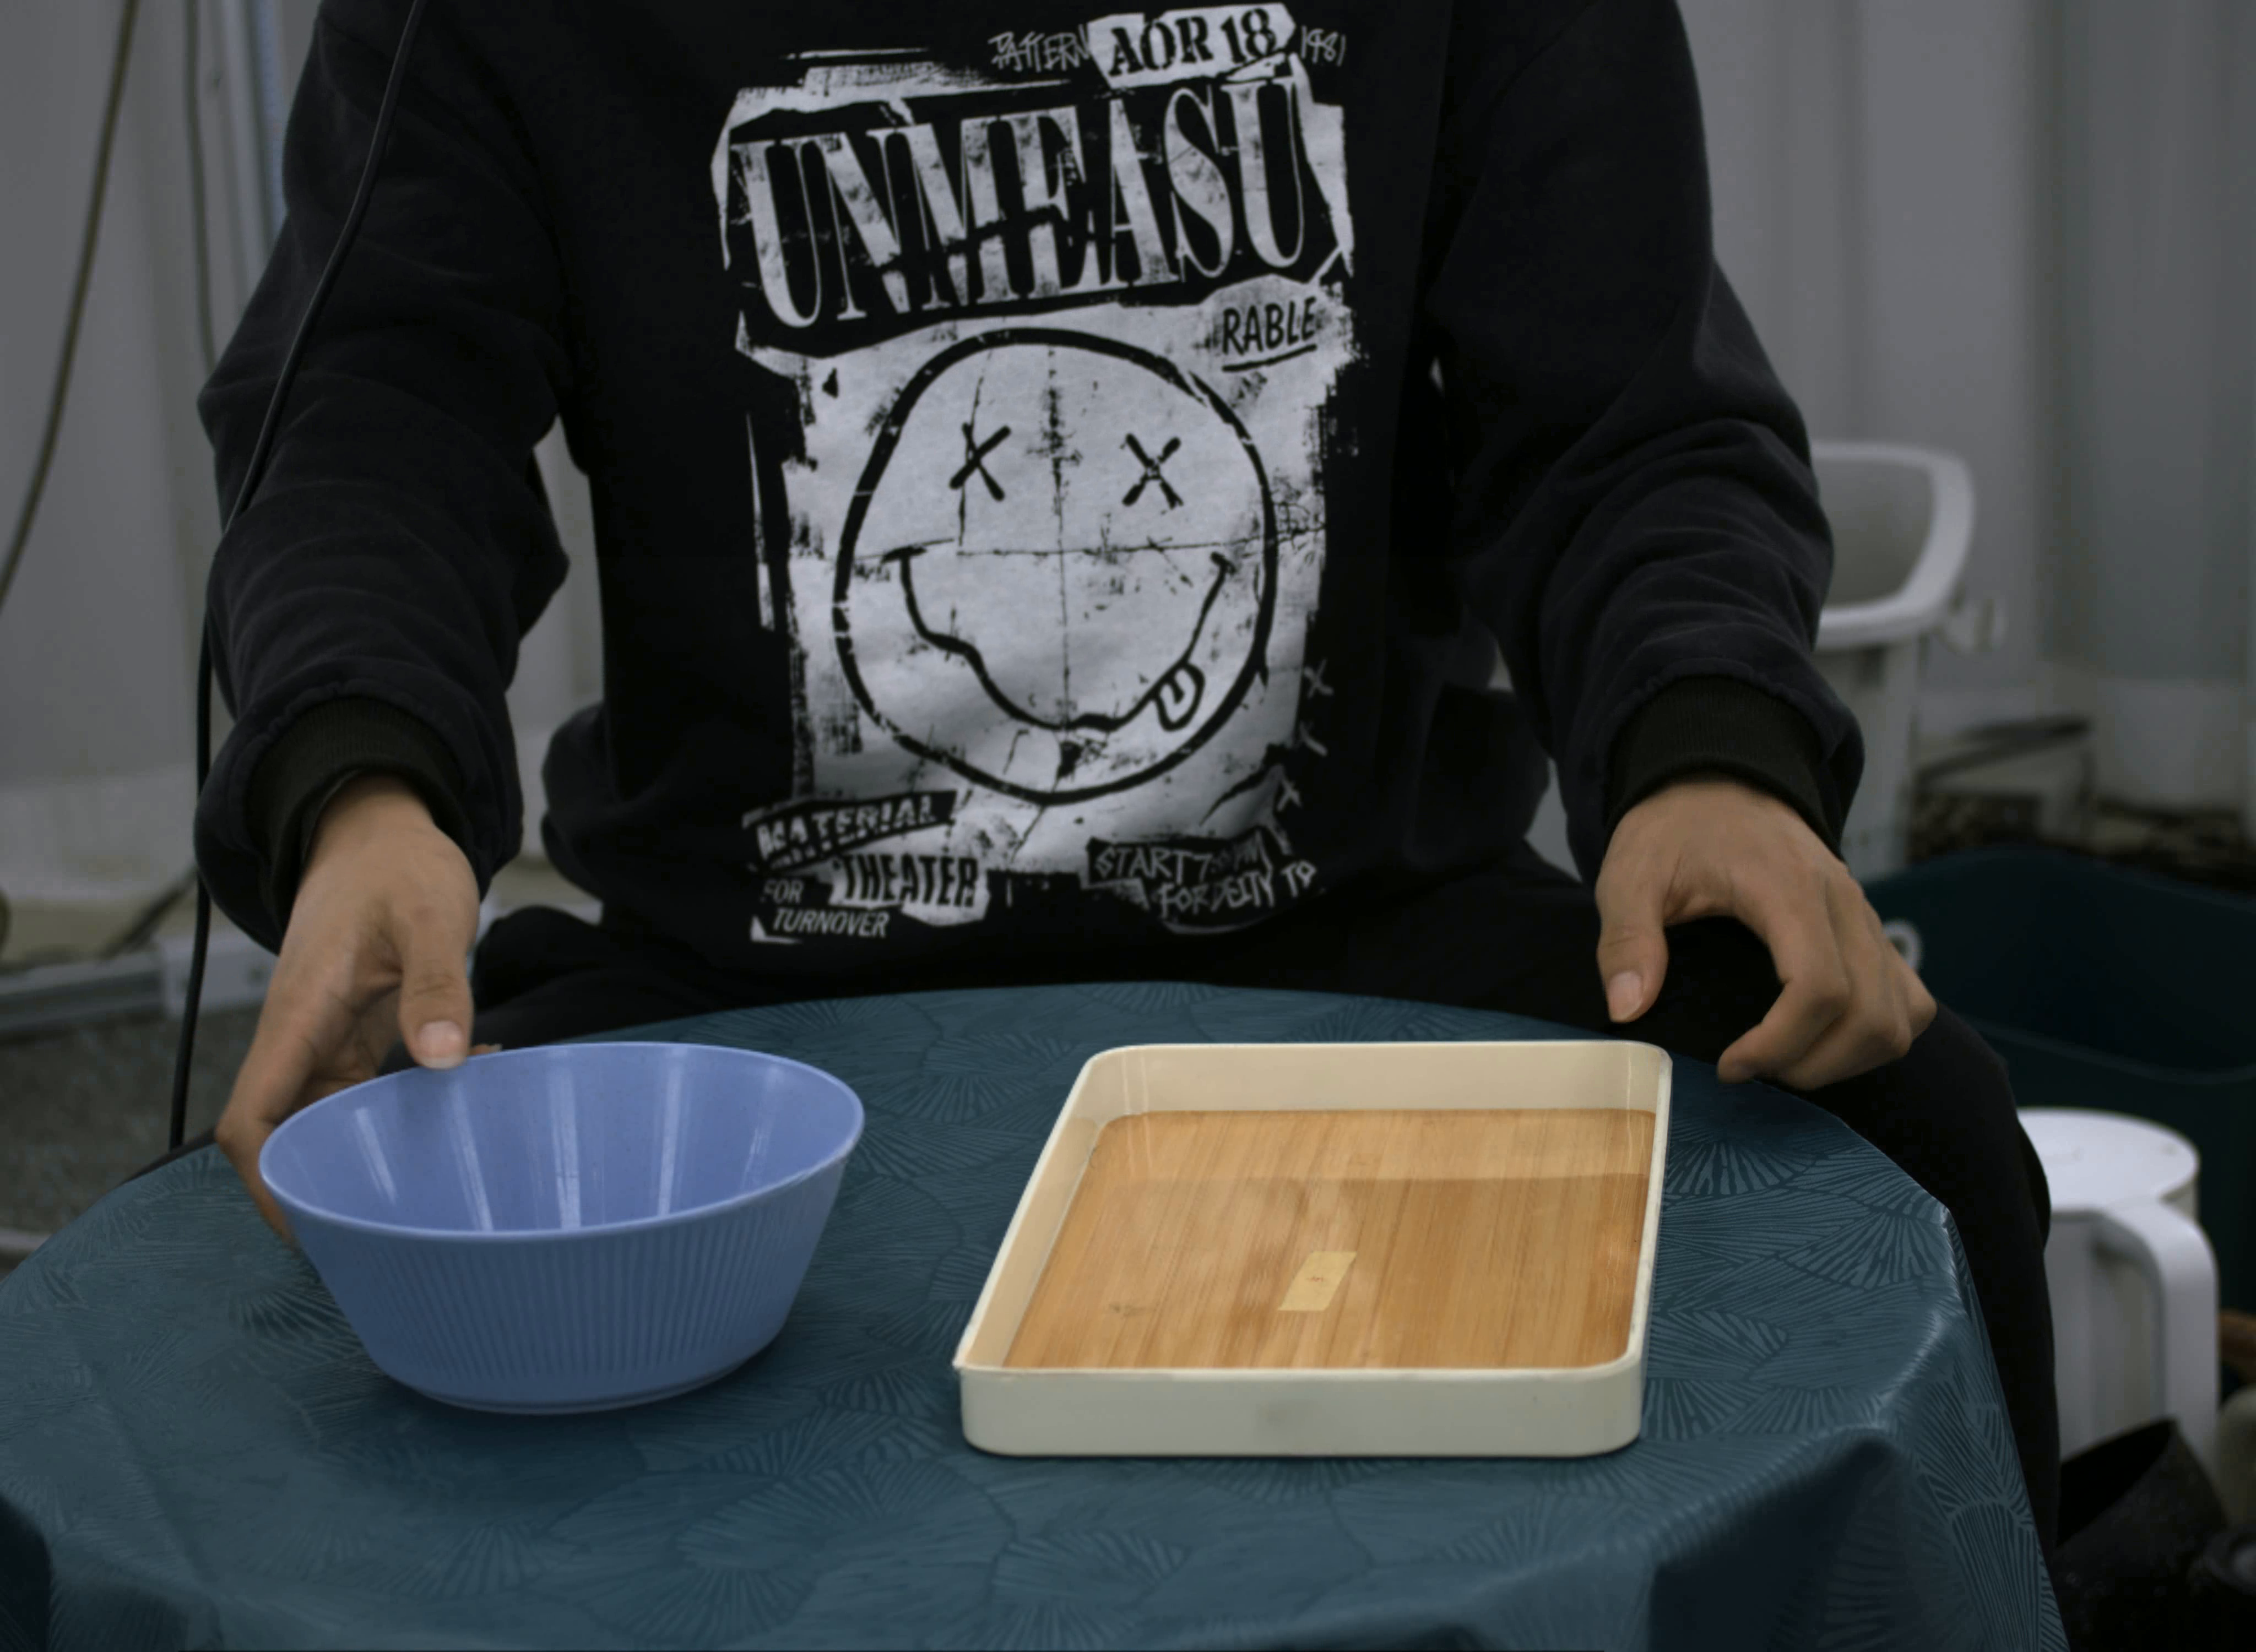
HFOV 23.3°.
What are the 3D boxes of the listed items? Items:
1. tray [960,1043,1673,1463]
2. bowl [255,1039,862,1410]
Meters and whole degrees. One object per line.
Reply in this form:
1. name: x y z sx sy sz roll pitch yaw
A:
1. tray: 0.064 0.122 1.624 0.191 0.027 0.302 0 15 8
2. bowl: -0.163 0.119 1.592 0.175 0.070 0.177 -2 15 0
